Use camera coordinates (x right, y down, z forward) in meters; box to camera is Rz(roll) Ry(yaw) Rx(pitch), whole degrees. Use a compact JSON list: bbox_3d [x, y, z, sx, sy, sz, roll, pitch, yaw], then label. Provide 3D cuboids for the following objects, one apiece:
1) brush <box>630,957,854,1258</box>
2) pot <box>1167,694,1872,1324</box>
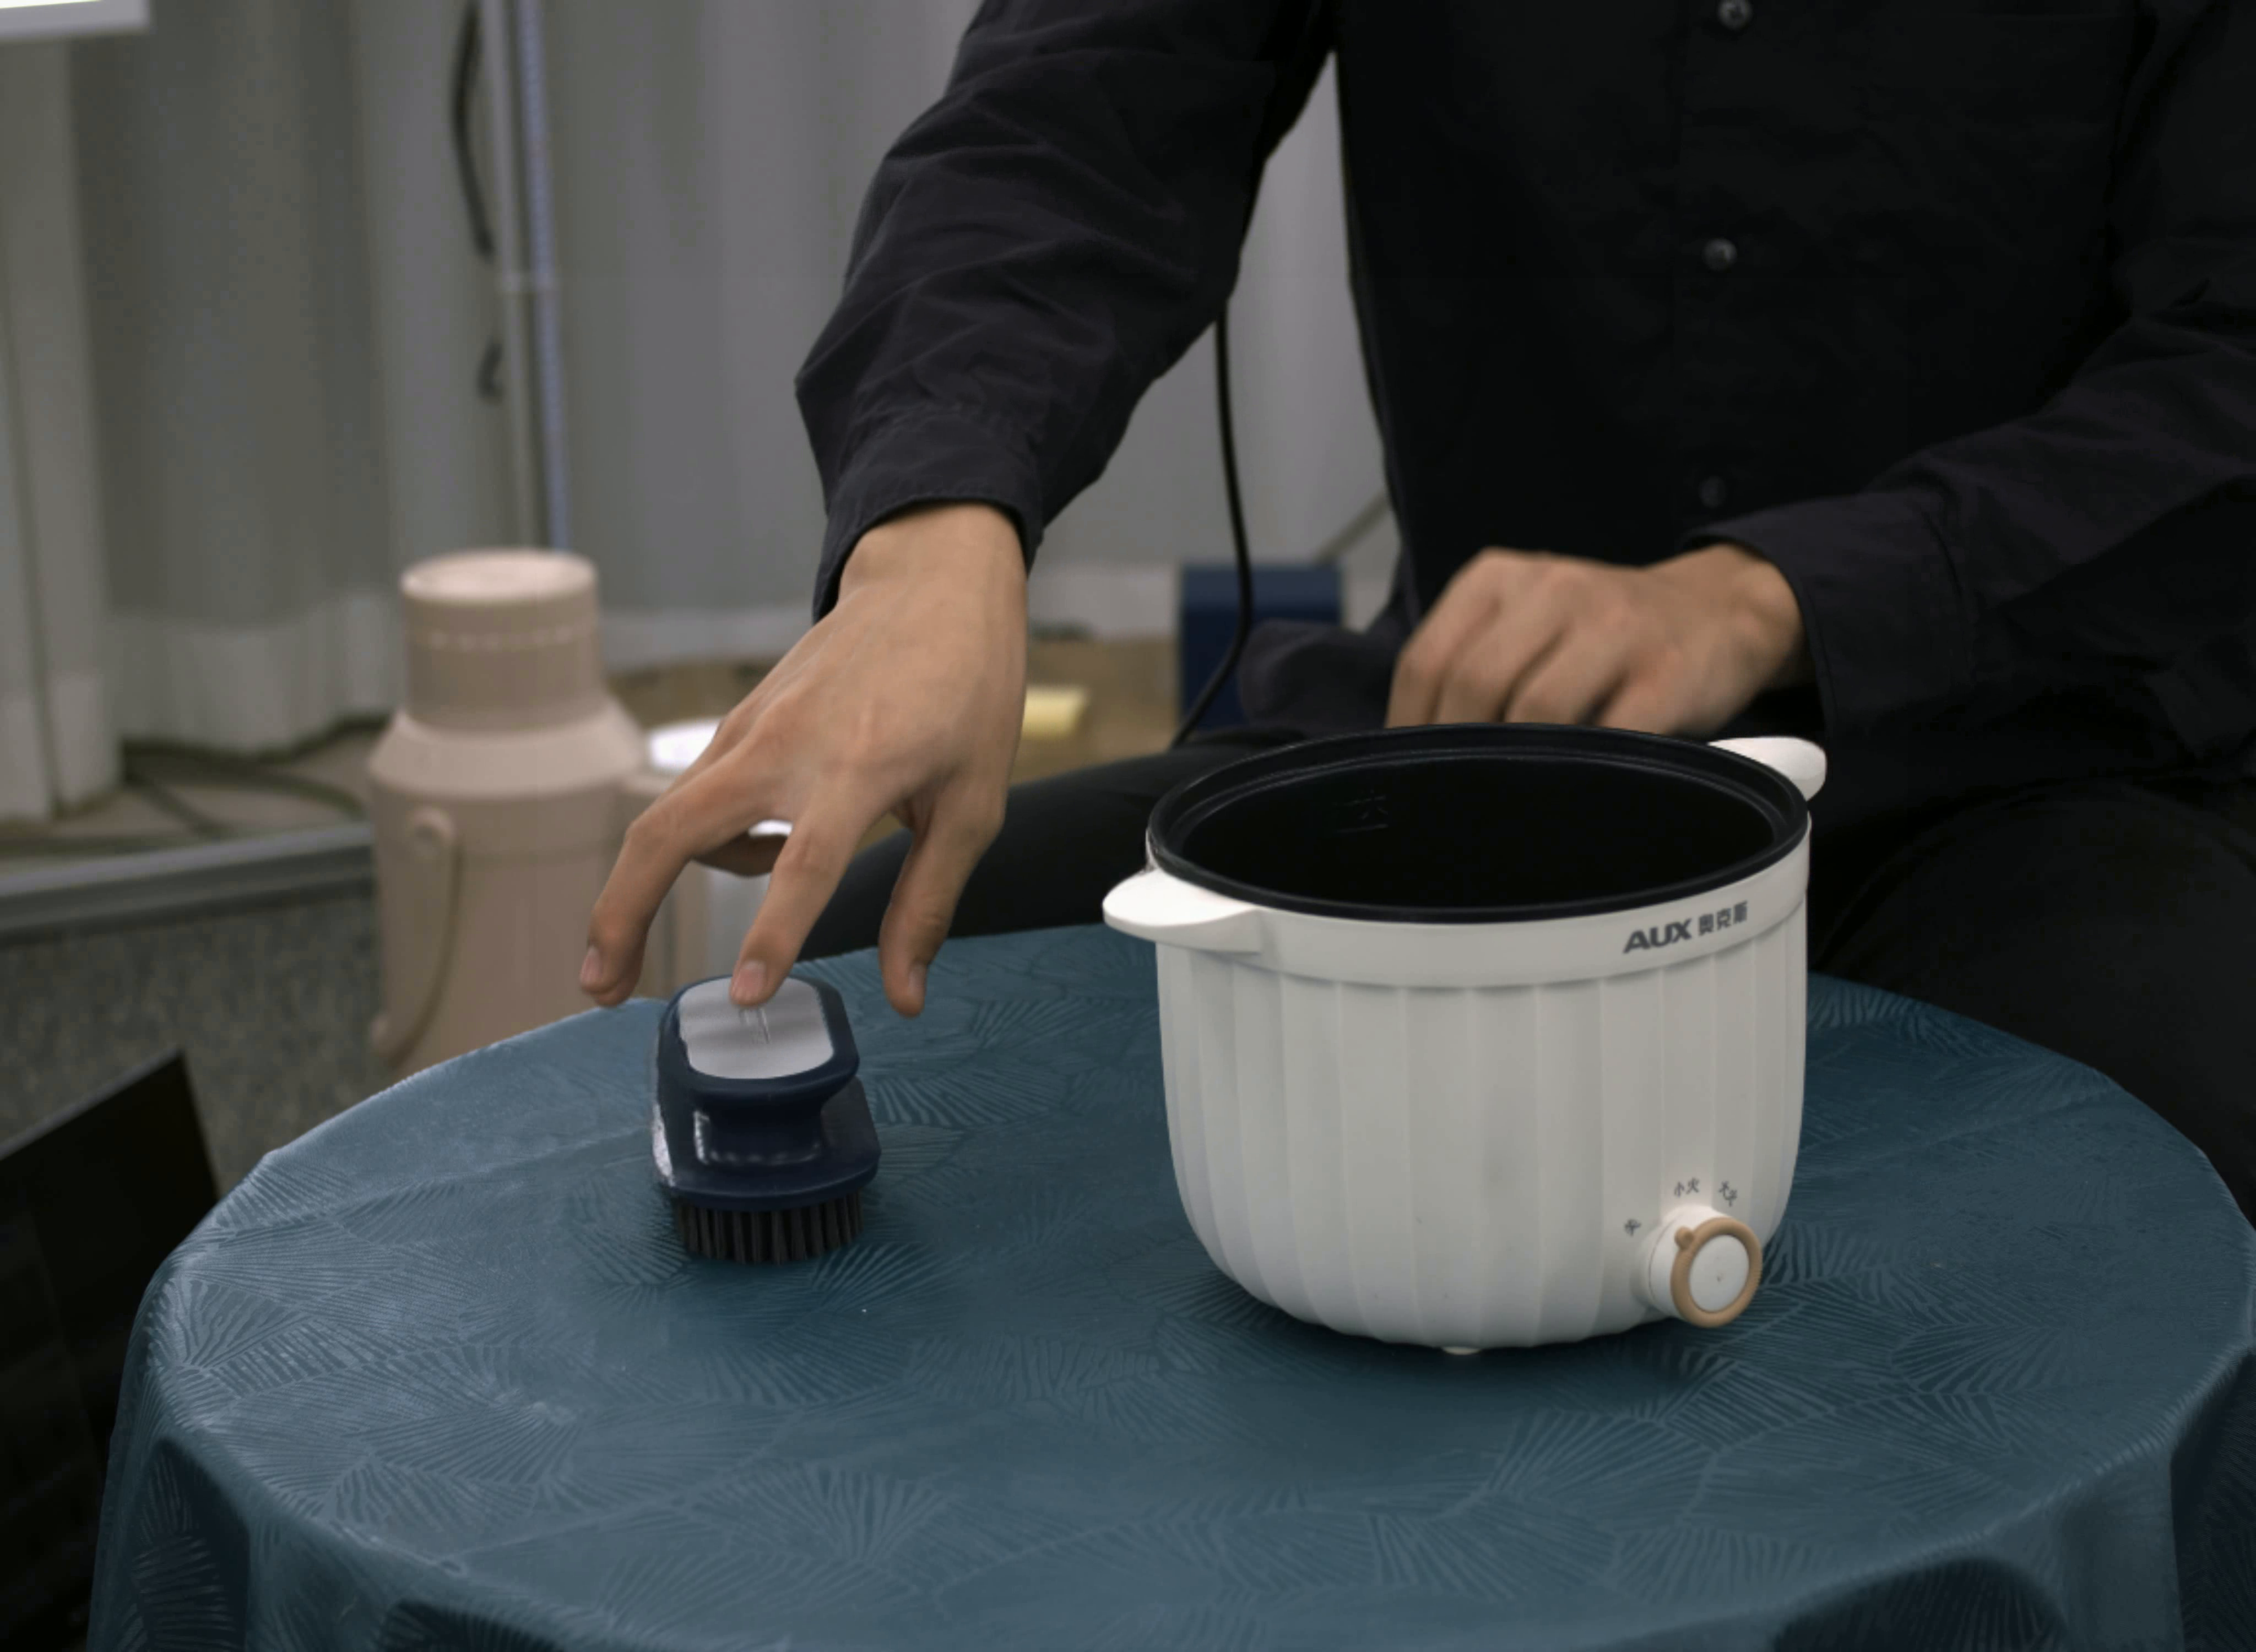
[{"bbox_3d":[-0.115,0.085,1.580,0.067,0.061,0.122,-5,19,-1],"label":"brush"},{"bbox_3d":[0.118,0.052,1.465,0.235,0.142,0.195,-15,17,-32],"label":"pot"}]
